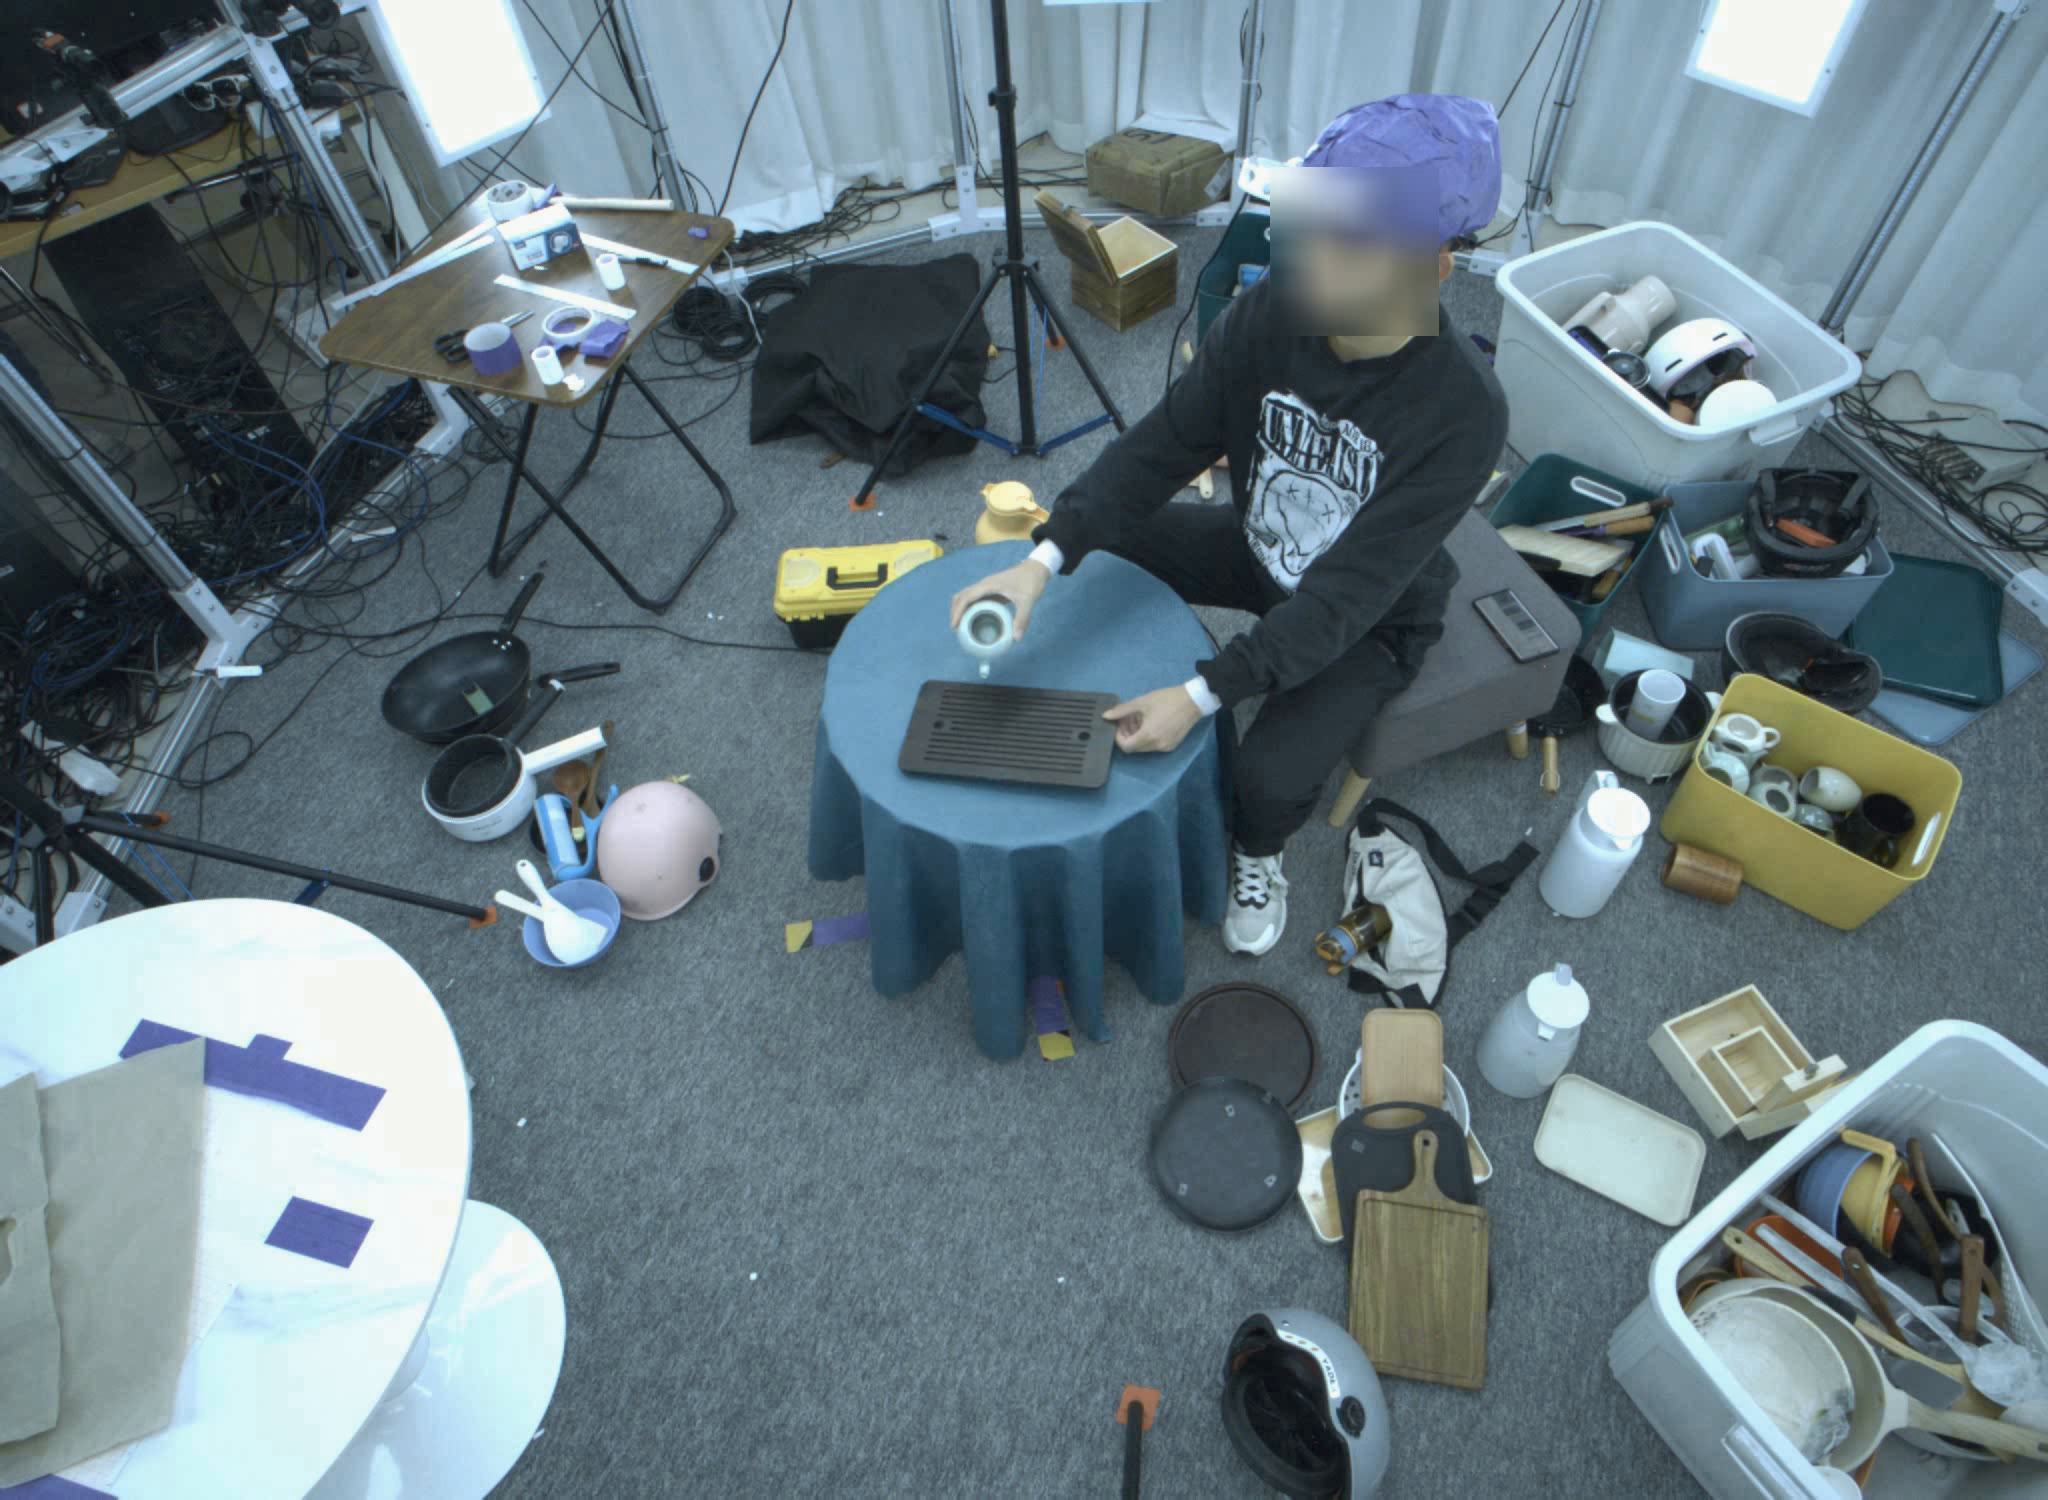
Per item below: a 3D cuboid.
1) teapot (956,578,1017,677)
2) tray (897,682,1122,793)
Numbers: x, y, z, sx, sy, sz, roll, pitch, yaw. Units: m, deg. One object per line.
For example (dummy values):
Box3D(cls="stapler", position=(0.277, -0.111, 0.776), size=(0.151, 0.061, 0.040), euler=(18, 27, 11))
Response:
Box3D(cls="teapot", position=(-0.054, -0.174, 1.772), size=(0.088, 0.074, 0.144), euler=(4, 90, 0))
Box3D(cls="tray", position=(-0.019, -0.019, 1.777), size=(0.304, 0.019, 0.169), euler=(5, 55, 9))
